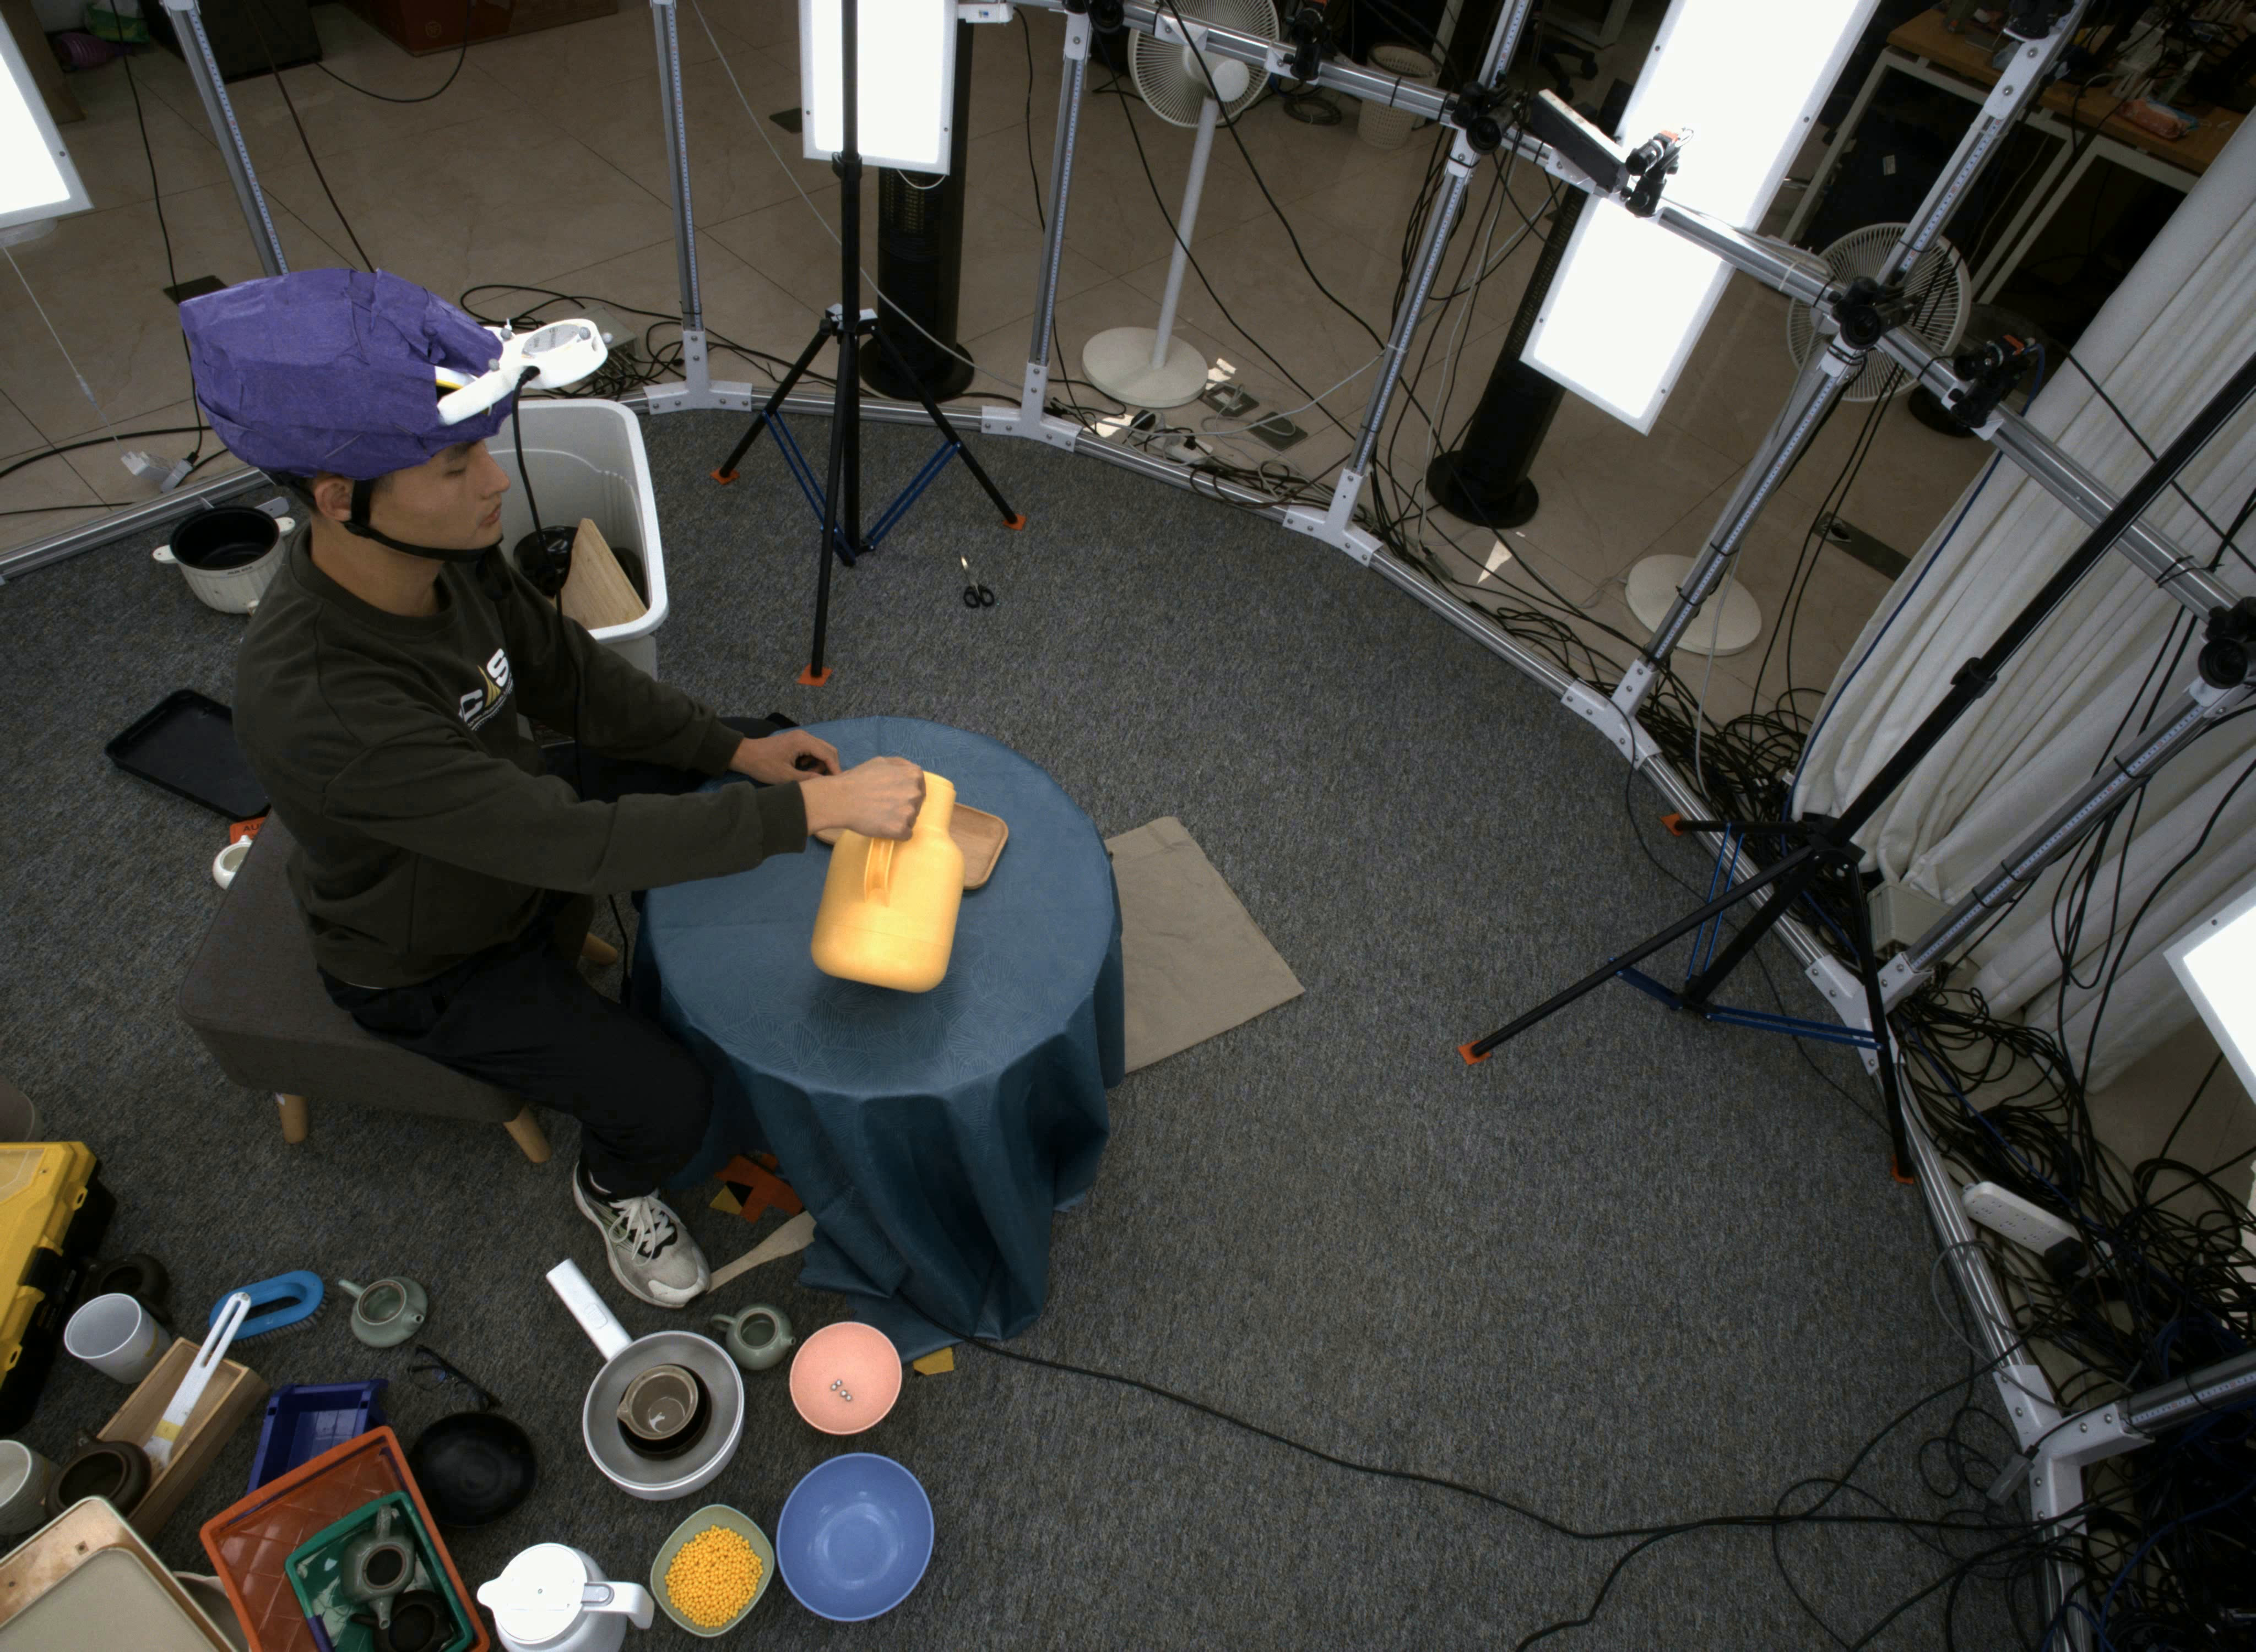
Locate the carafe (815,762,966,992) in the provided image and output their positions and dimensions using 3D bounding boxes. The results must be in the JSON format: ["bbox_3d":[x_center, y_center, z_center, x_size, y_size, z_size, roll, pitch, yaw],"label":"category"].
[{"bbox_3d":[-0.279,0.055,1.538,0.161,0.204,0.261,7,82,4],"label":"carafe"}]

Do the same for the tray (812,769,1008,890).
[{"bbox_3d":[-0.293,0.004,1.754,0.248,0.023,0.129,19,49,2],"label":"tray"}]
